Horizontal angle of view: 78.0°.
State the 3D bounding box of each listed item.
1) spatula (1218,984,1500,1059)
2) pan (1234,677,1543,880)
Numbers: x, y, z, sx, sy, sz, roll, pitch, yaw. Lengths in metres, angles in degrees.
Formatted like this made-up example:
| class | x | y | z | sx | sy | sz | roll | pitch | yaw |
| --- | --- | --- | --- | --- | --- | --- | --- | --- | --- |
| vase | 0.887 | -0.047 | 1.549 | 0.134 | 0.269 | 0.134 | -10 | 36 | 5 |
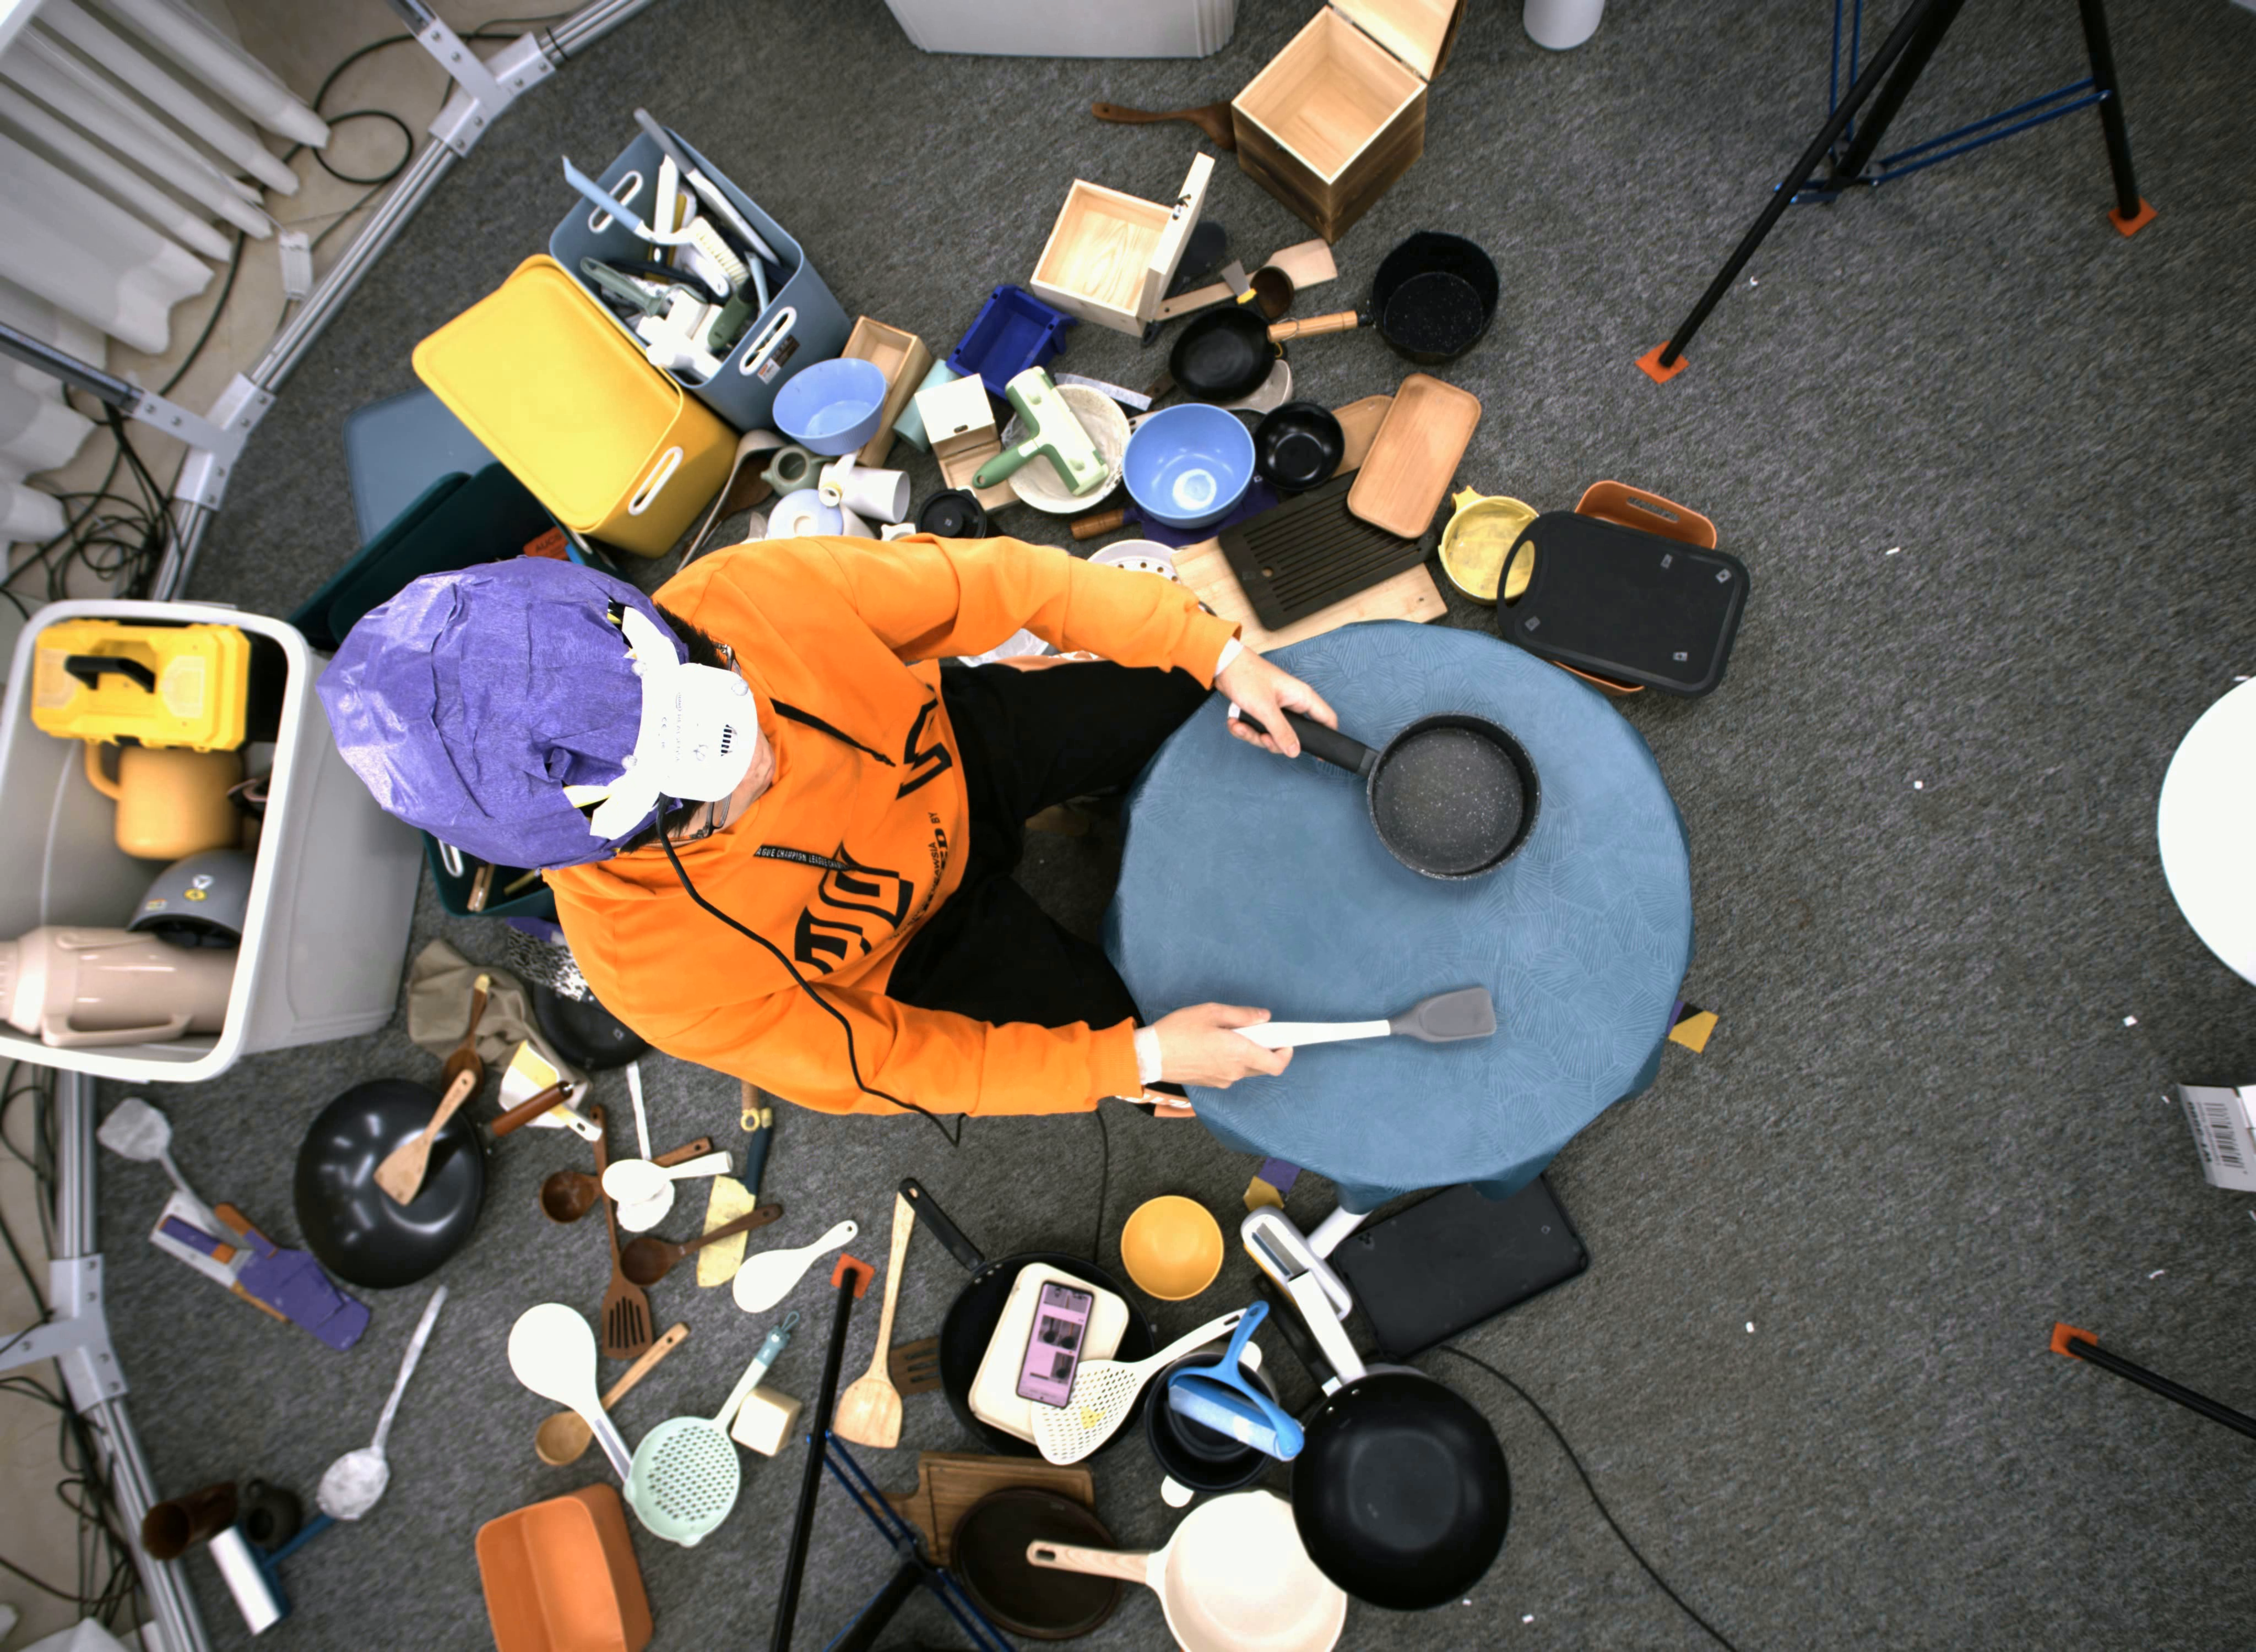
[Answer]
| class | x | y | z | sx | sy | sz | roll | pitch | yaw |
| --- | --- | --- | --- | --- | --- | --- | --- | --- | --- |
| spatula | 0.236 | 0.204 | 1.418 | 0.288 | 0.033 | 0.057 | -6 | 58 | -2 |
| pan | 0.262 | -0.064 | 1.421 | 0.328 | 0.086 | 0.172 | 26 | 91 | 7 |
